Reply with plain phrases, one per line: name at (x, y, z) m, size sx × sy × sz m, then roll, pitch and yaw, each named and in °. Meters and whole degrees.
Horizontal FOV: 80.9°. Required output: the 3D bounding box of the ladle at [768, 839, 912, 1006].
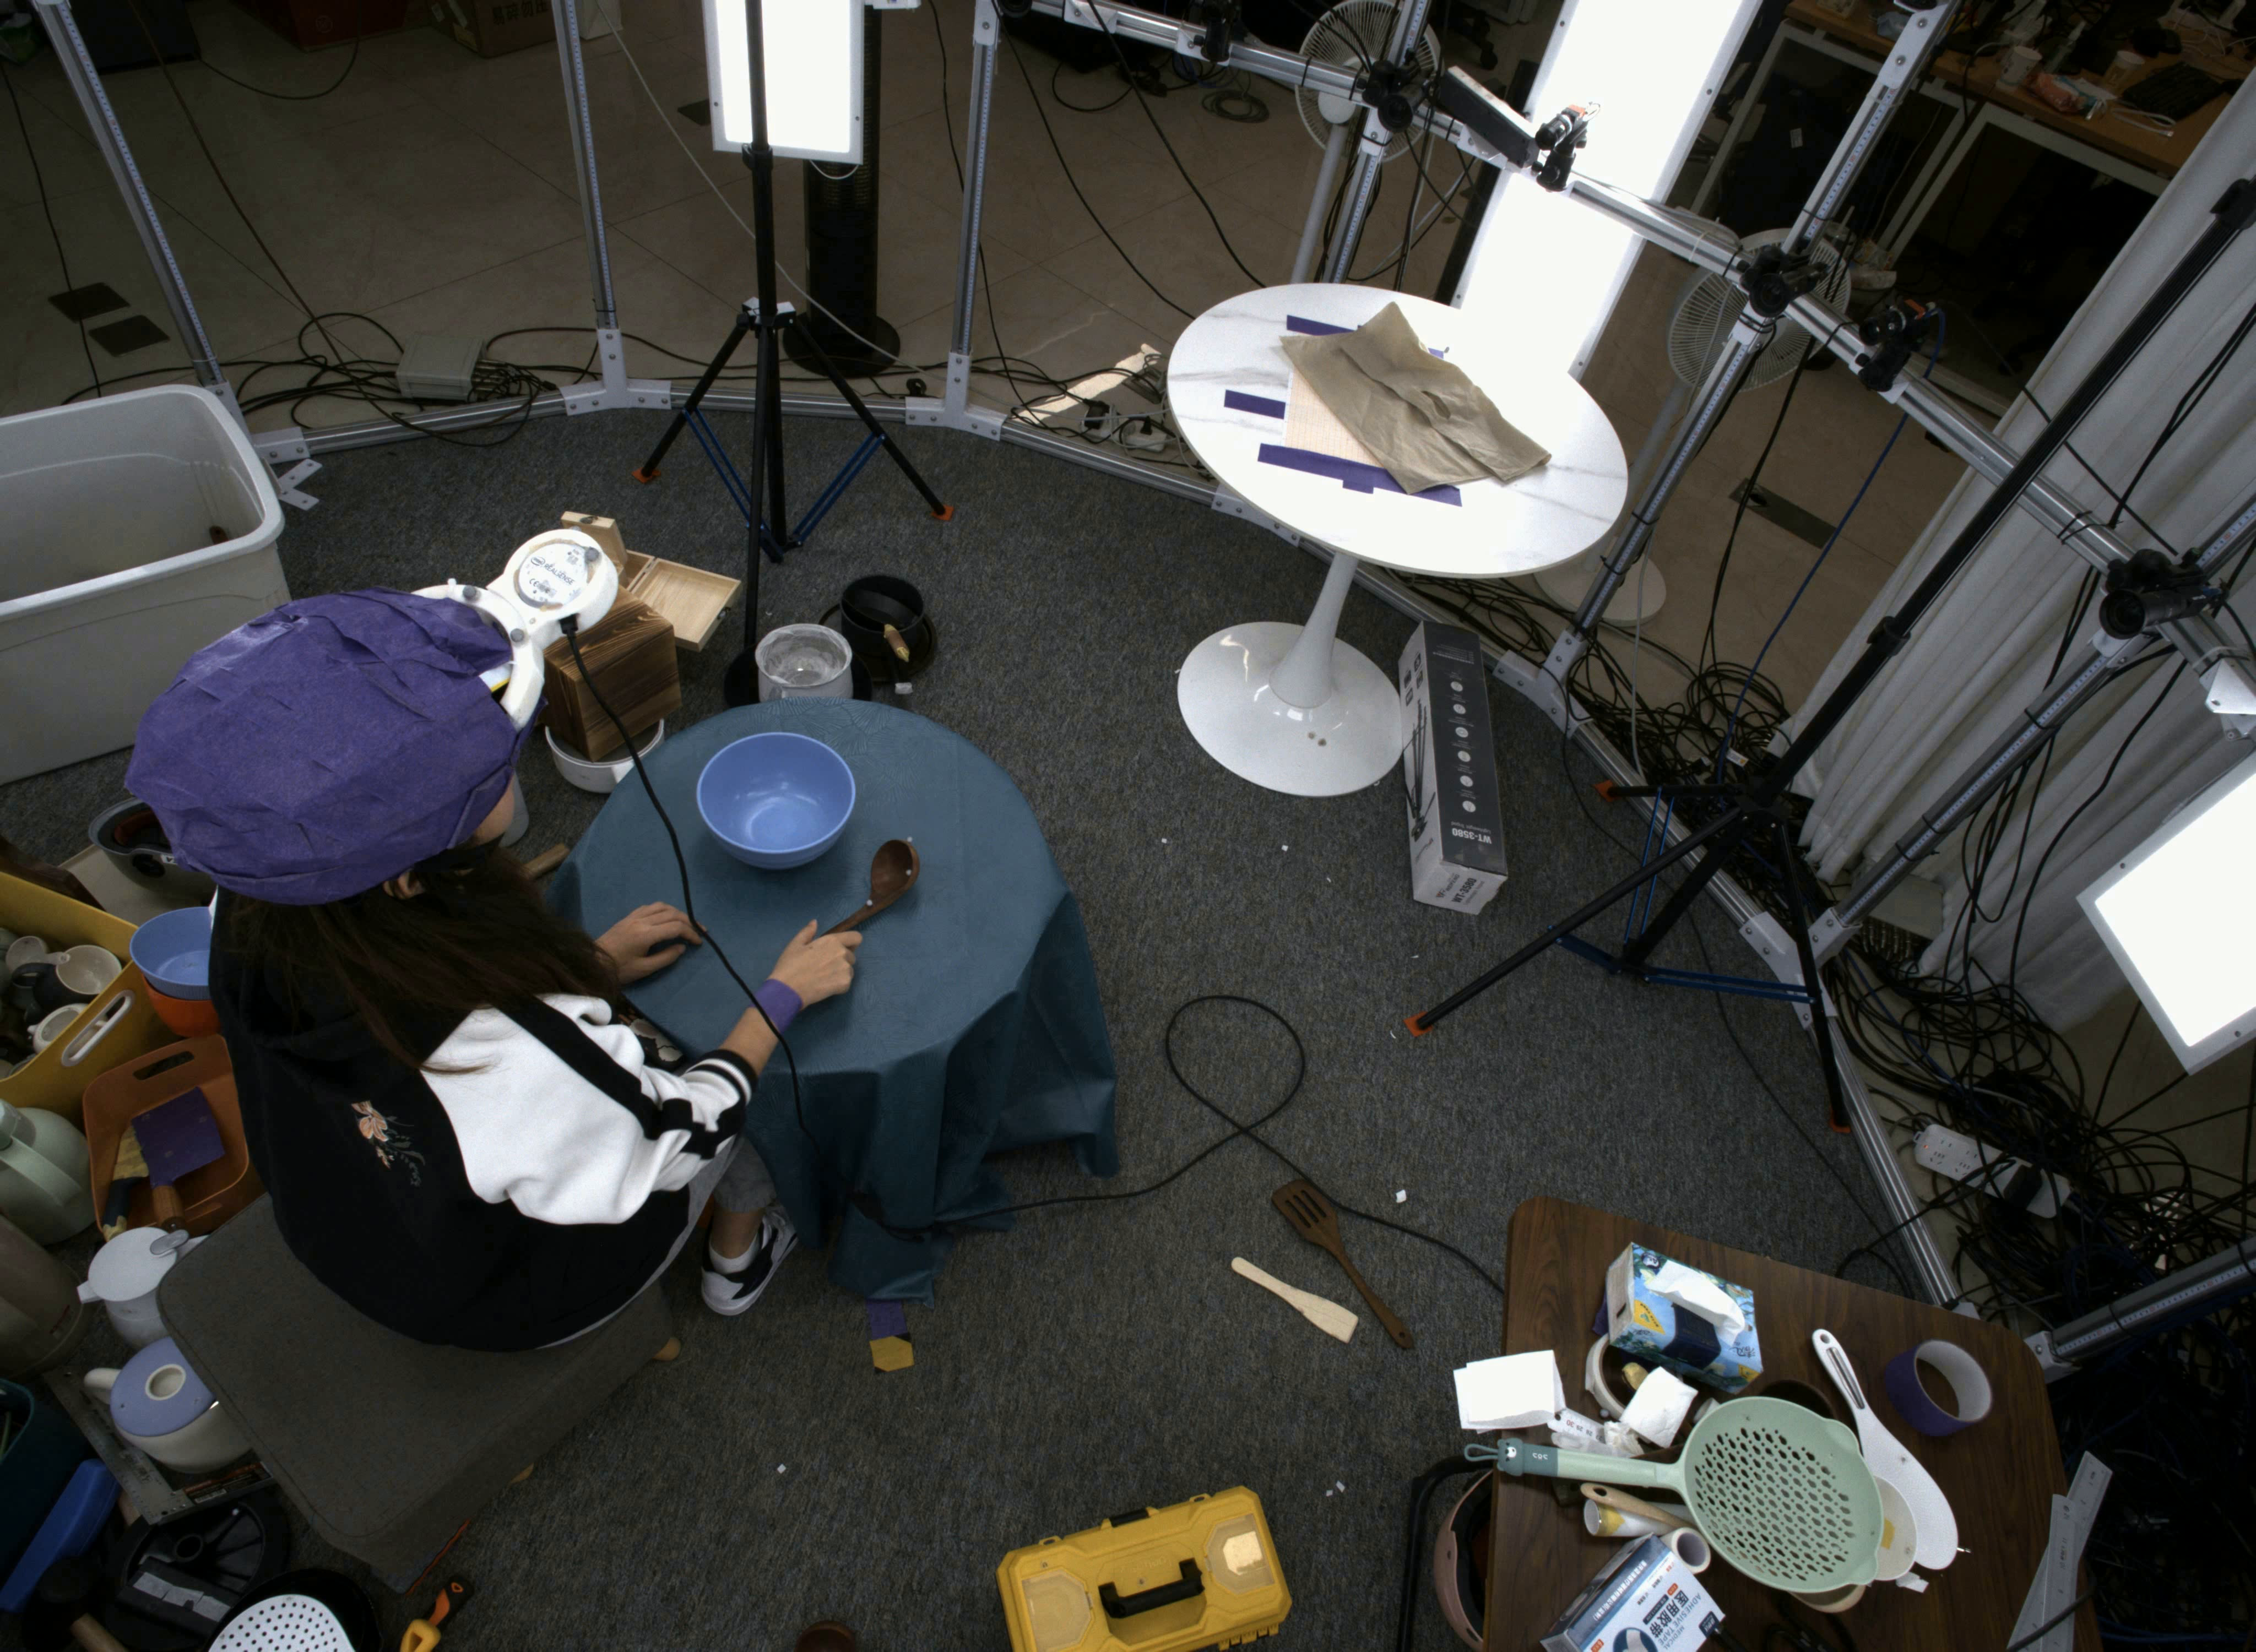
ladle at (-0.363, 0.113, 1.611) m, size 0.074 × 0.067 × 0.260 m, roll 9°, pitch 42°, yaw 38°

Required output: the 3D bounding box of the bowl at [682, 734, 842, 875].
bowl at (-0.470, -0.014, 1.656) m, size 0.197 × 0.097 × 0.193 m, roll 12°, pitch 51°, yaw -13°
